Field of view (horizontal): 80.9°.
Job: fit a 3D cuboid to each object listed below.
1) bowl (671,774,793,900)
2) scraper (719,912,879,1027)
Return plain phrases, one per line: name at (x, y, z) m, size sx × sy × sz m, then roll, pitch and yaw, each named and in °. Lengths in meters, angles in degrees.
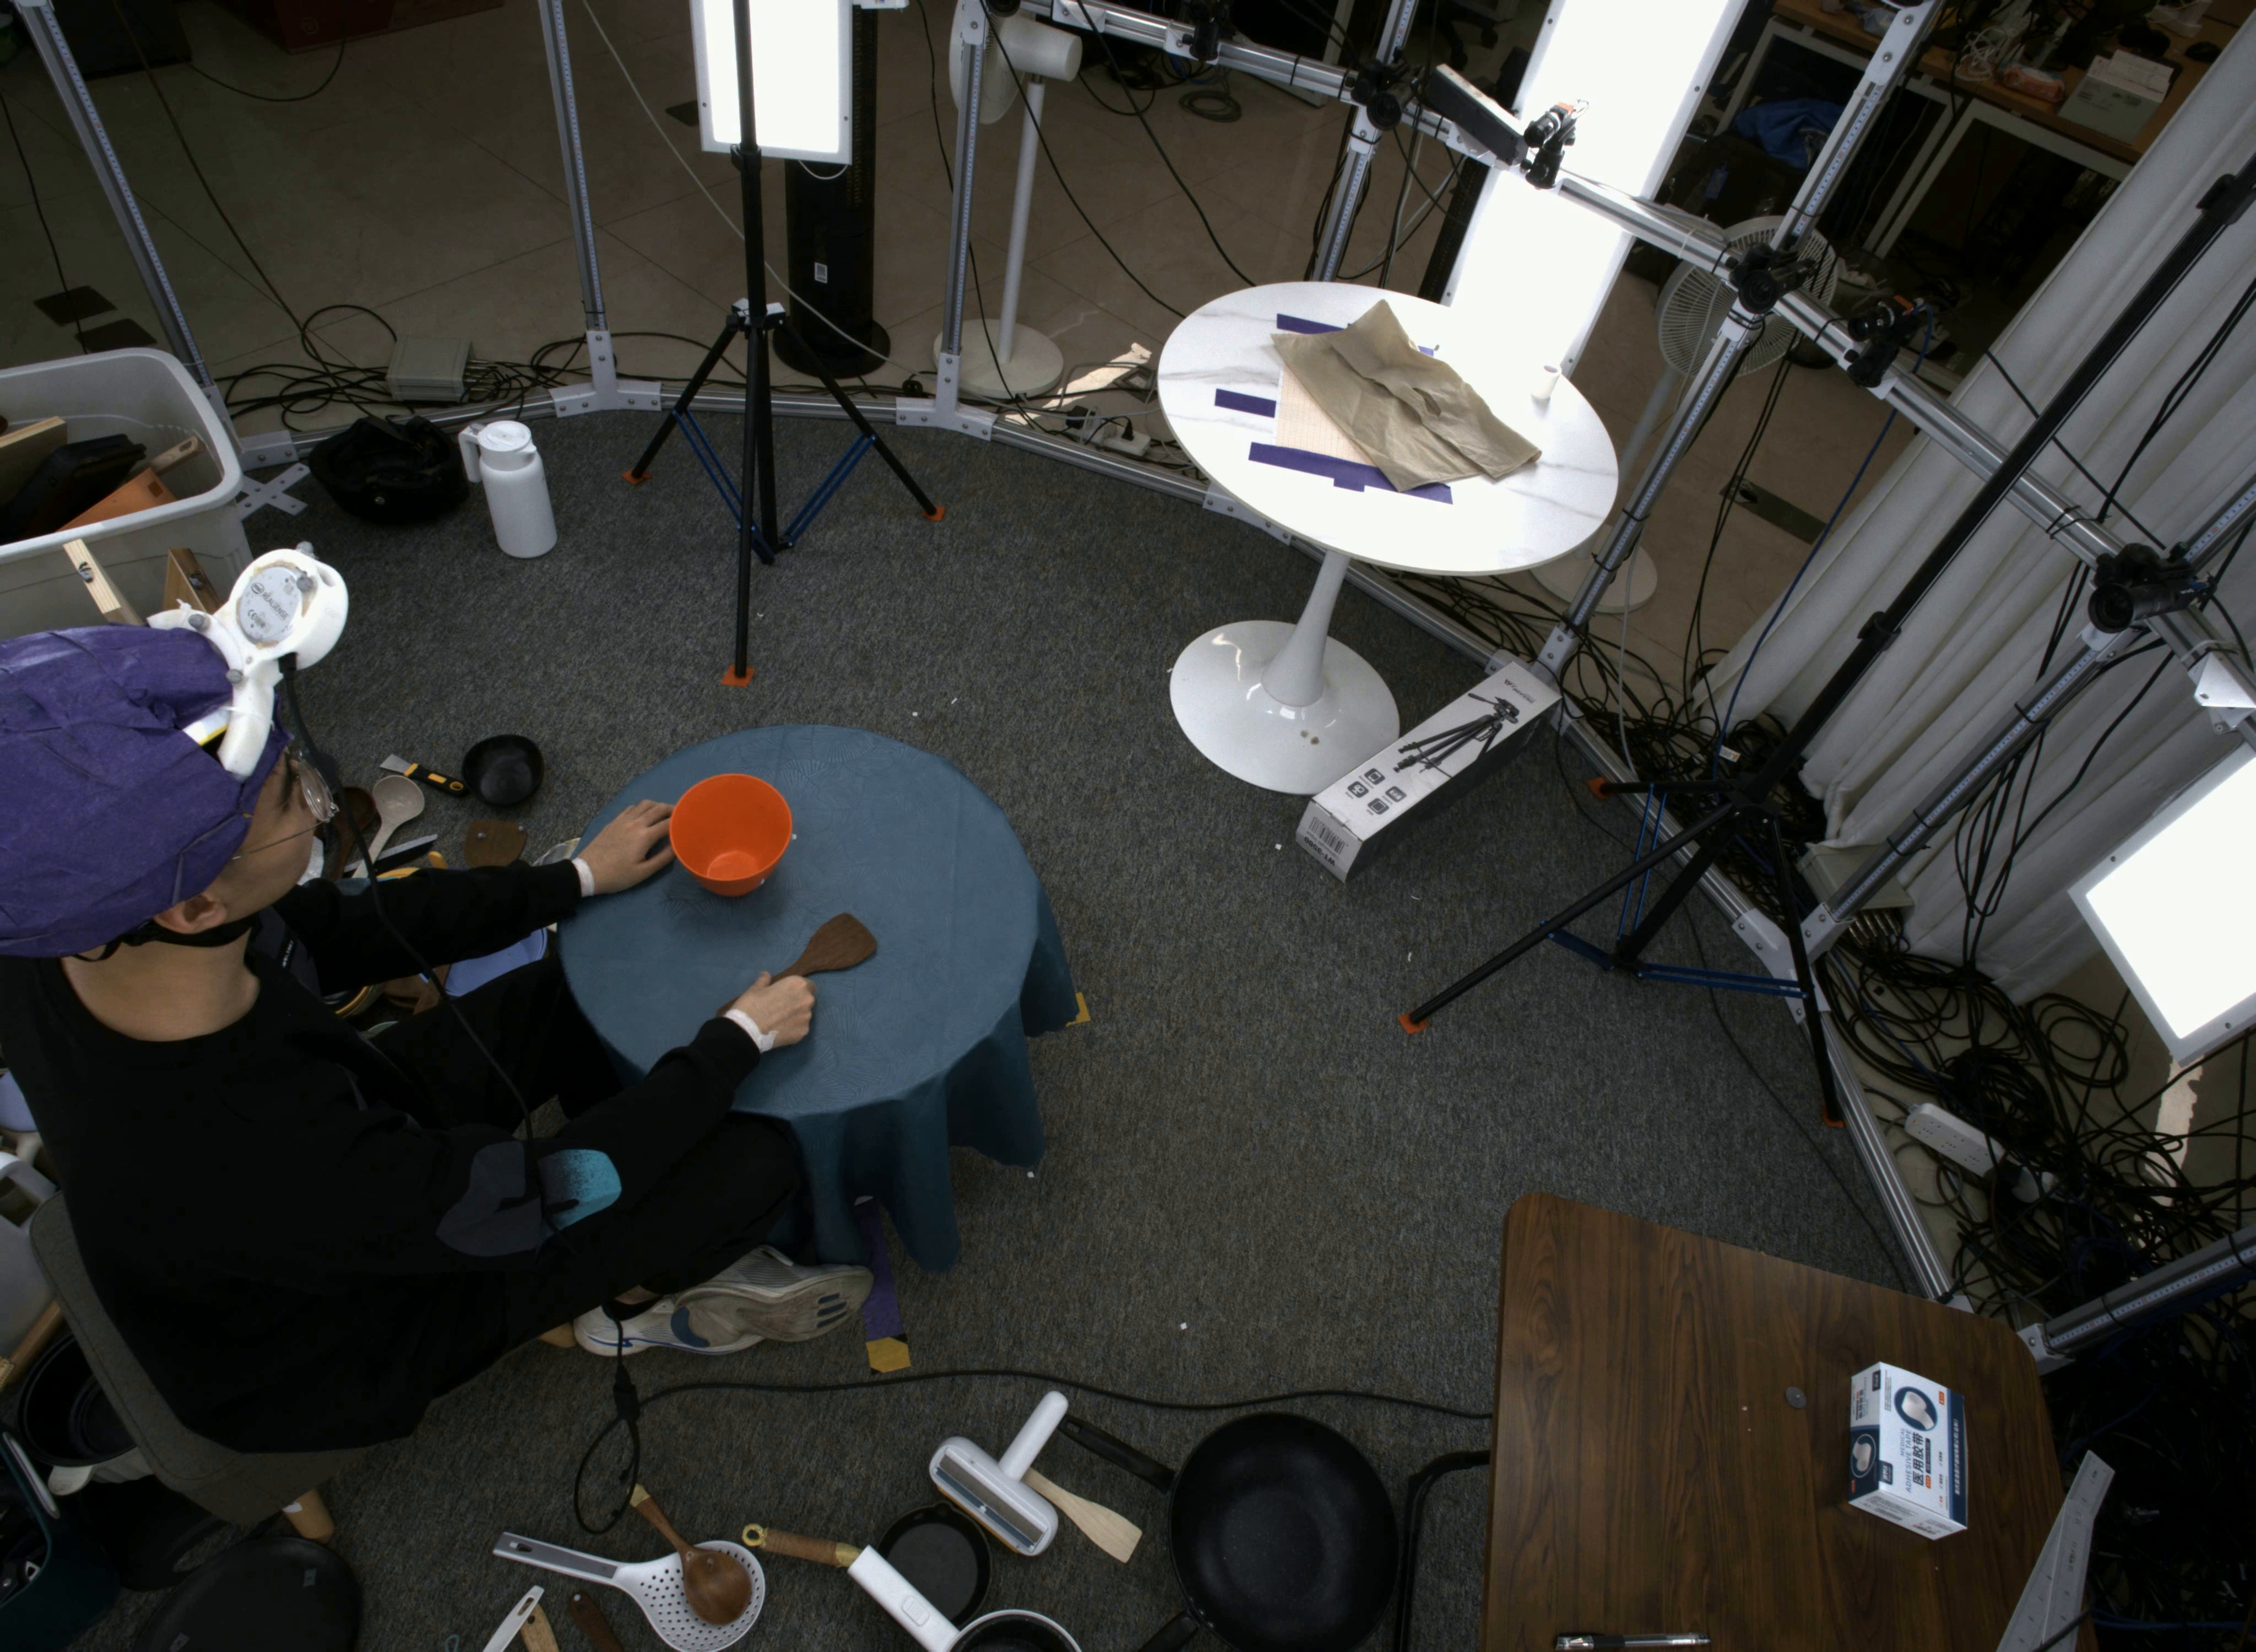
bowl at (-0.496, 0.024, 1.628) m, size 0.148 × 0.106 × 0.145 m, roll 8°, pitch 53°, yaw -9°
scraper at (-0.408, 0.179, 1.595) m, size 0.212 × 0.011 × 0.074 m, roll -34°, pitch 66°, yaw -32°
